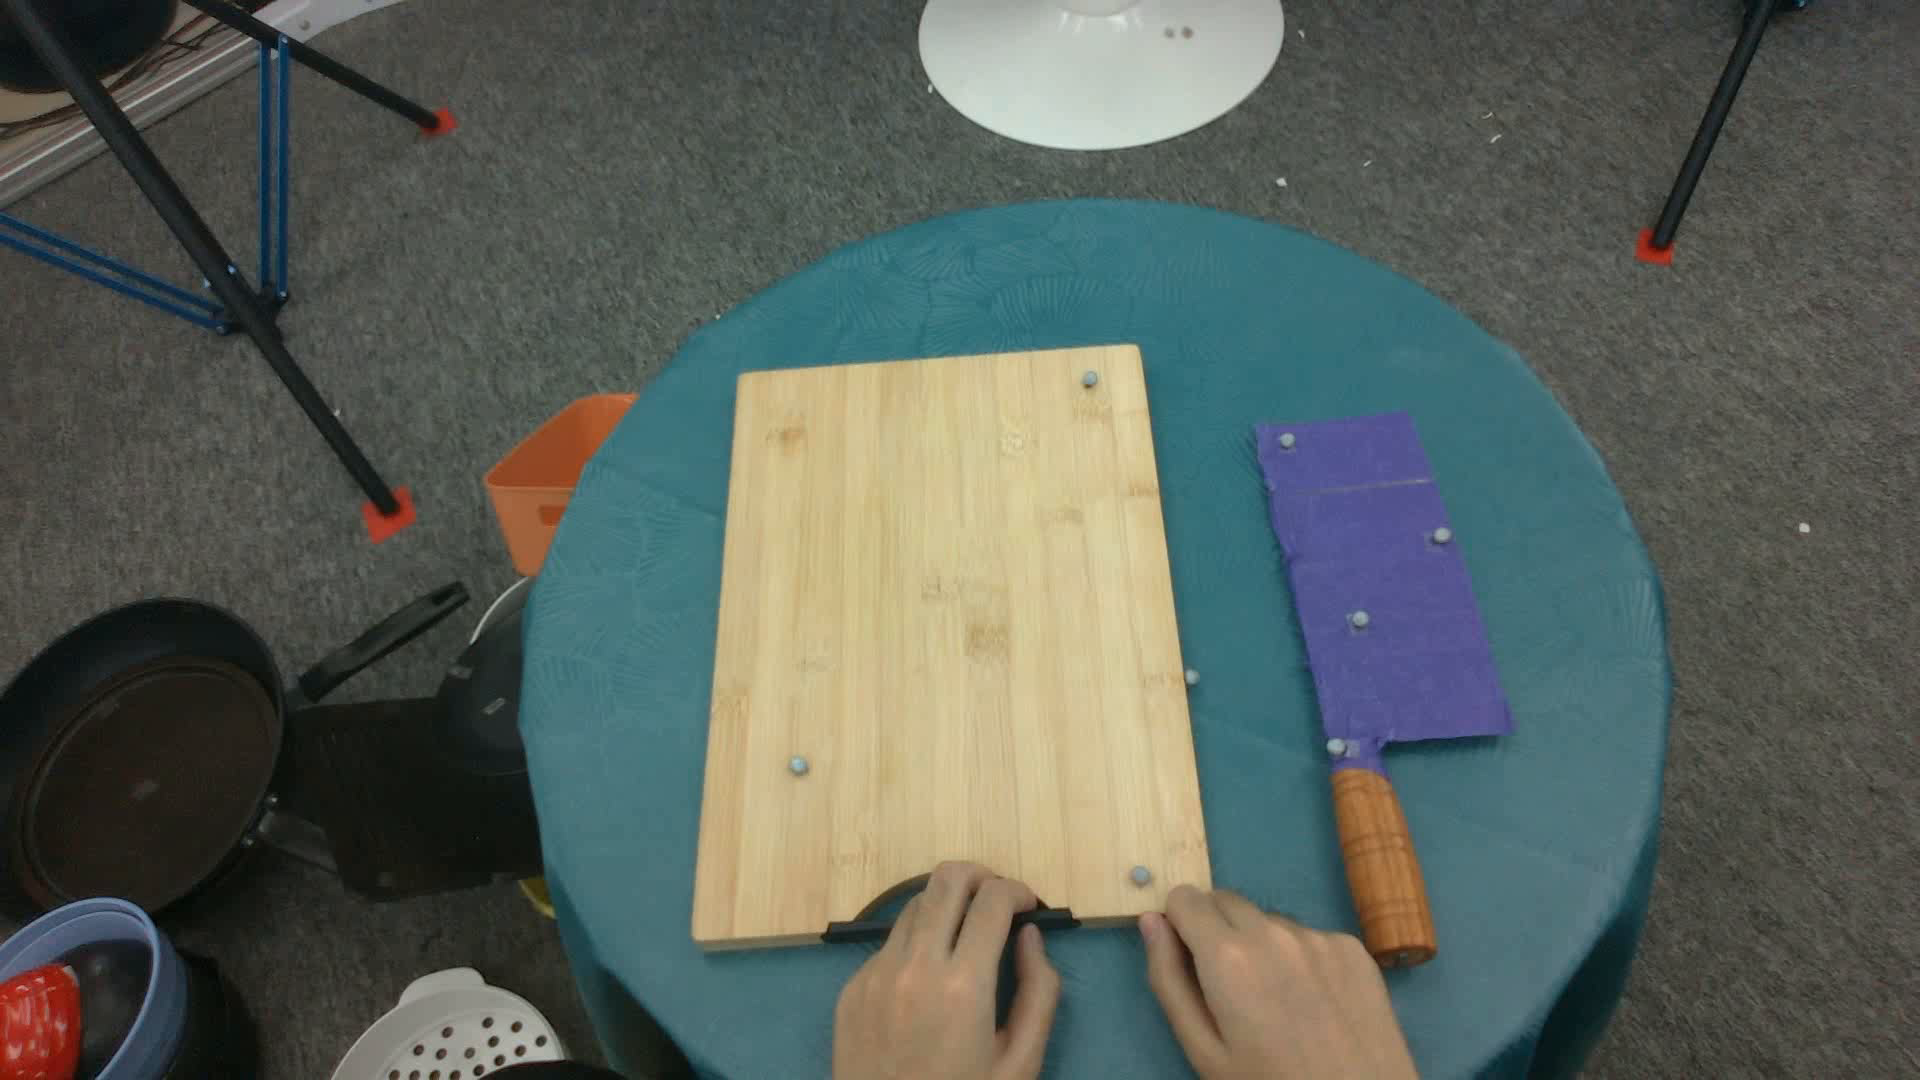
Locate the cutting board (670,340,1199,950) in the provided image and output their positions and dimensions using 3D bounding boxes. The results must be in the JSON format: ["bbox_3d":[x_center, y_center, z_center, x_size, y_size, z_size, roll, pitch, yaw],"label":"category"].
[{"bbox_3d":[-0.017,0.035,0.725,0.250,0.023,0.350,-5,57,2],"label":"cutting board"}]

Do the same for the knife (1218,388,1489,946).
[{"bbox_3d":[0.211,0.043,0.697,0.104,0.032,0.316,-6,56,1],"label":"knife"}]
